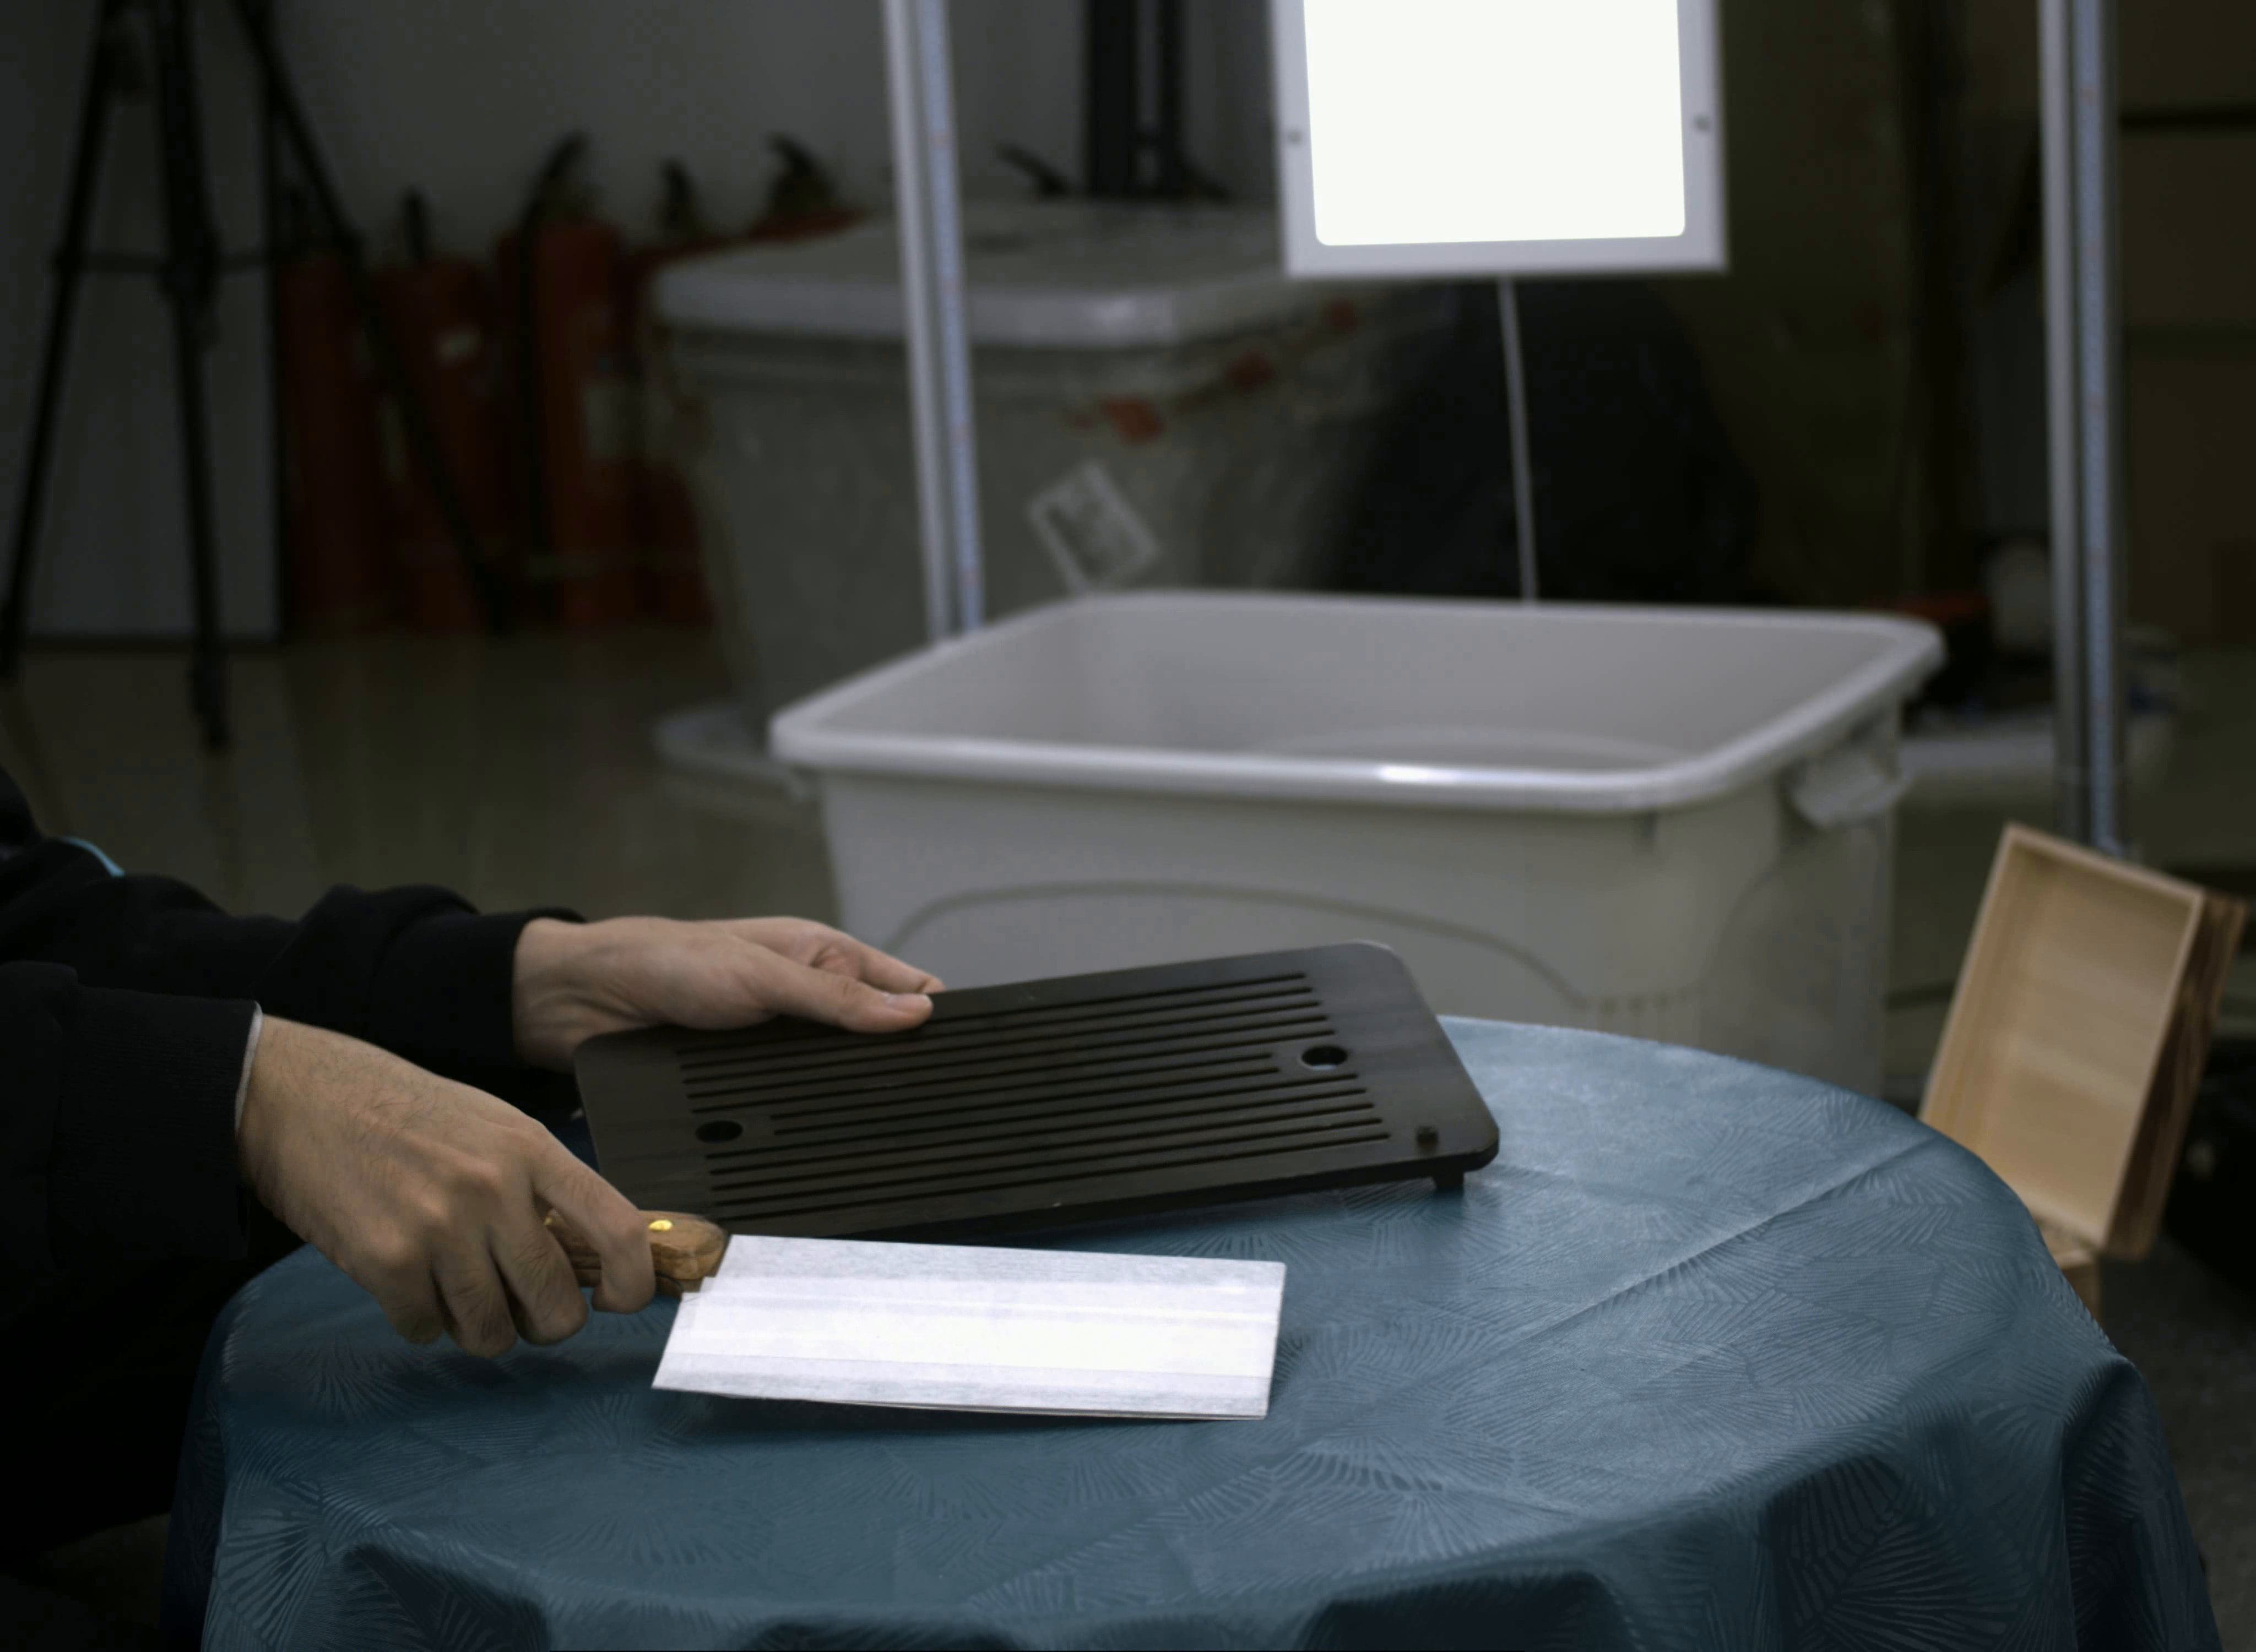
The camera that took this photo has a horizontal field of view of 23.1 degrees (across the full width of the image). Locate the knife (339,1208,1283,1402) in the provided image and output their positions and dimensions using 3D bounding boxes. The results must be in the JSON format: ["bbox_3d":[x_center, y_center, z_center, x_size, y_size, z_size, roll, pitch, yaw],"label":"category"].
[{"bbox_3d":[-0.103,0.152,1.727,0.307,0.021,0.092,2,27,8],"label":"knife"}]

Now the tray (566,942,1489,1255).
[{"bbox_3d":[-0.038,0.099,1.923,0.303,0.019,0.171,-7,25,-7],"label":"tray"}]
